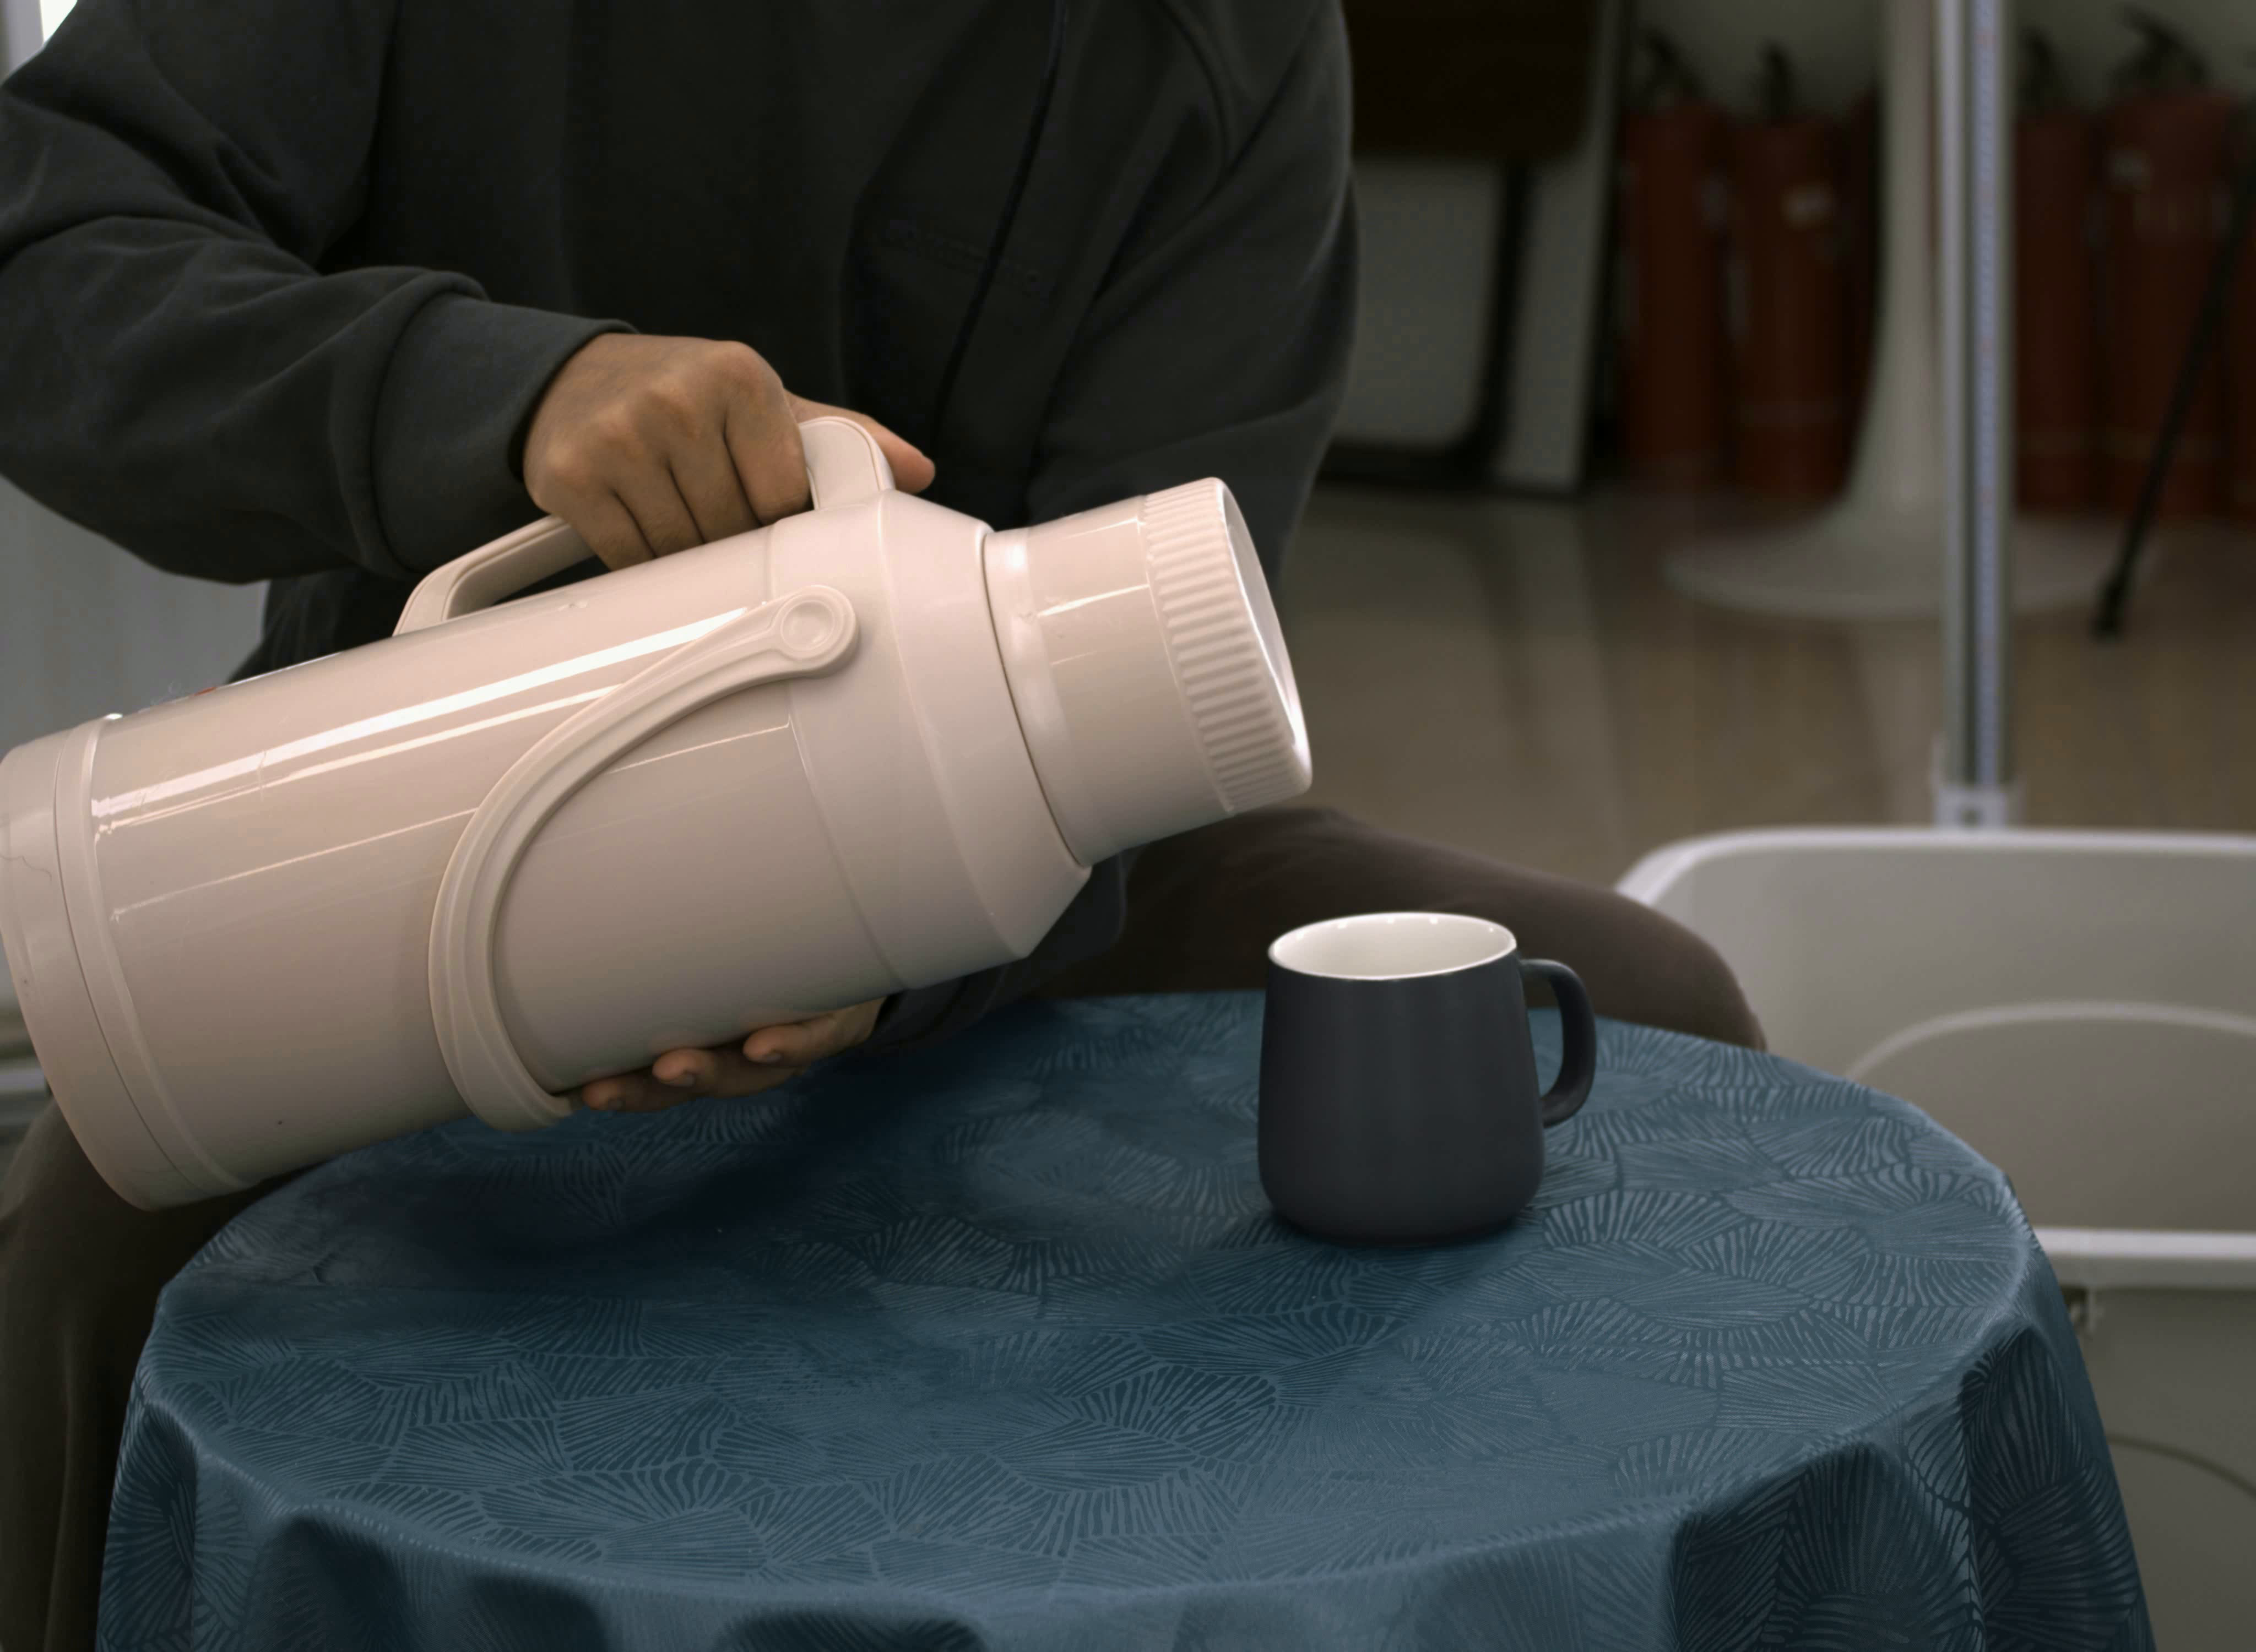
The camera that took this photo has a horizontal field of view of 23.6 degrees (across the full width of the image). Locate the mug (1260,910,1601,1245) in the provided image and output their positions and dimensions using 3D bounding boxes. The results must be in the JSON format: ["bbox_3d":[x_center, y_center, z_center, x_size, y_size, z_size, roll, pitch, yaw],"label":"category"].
[{"bbox_3d":[0.100,0.078,1.732,0.120,0.091,0.094,-11,15,-27],"label":"mug"}]

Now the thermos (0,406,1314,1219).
[{"bbox_3d":[-0.148,-0.018,1.725,0.404,0.210,0.174,-17,-27,9],"label":"thermos"}]
